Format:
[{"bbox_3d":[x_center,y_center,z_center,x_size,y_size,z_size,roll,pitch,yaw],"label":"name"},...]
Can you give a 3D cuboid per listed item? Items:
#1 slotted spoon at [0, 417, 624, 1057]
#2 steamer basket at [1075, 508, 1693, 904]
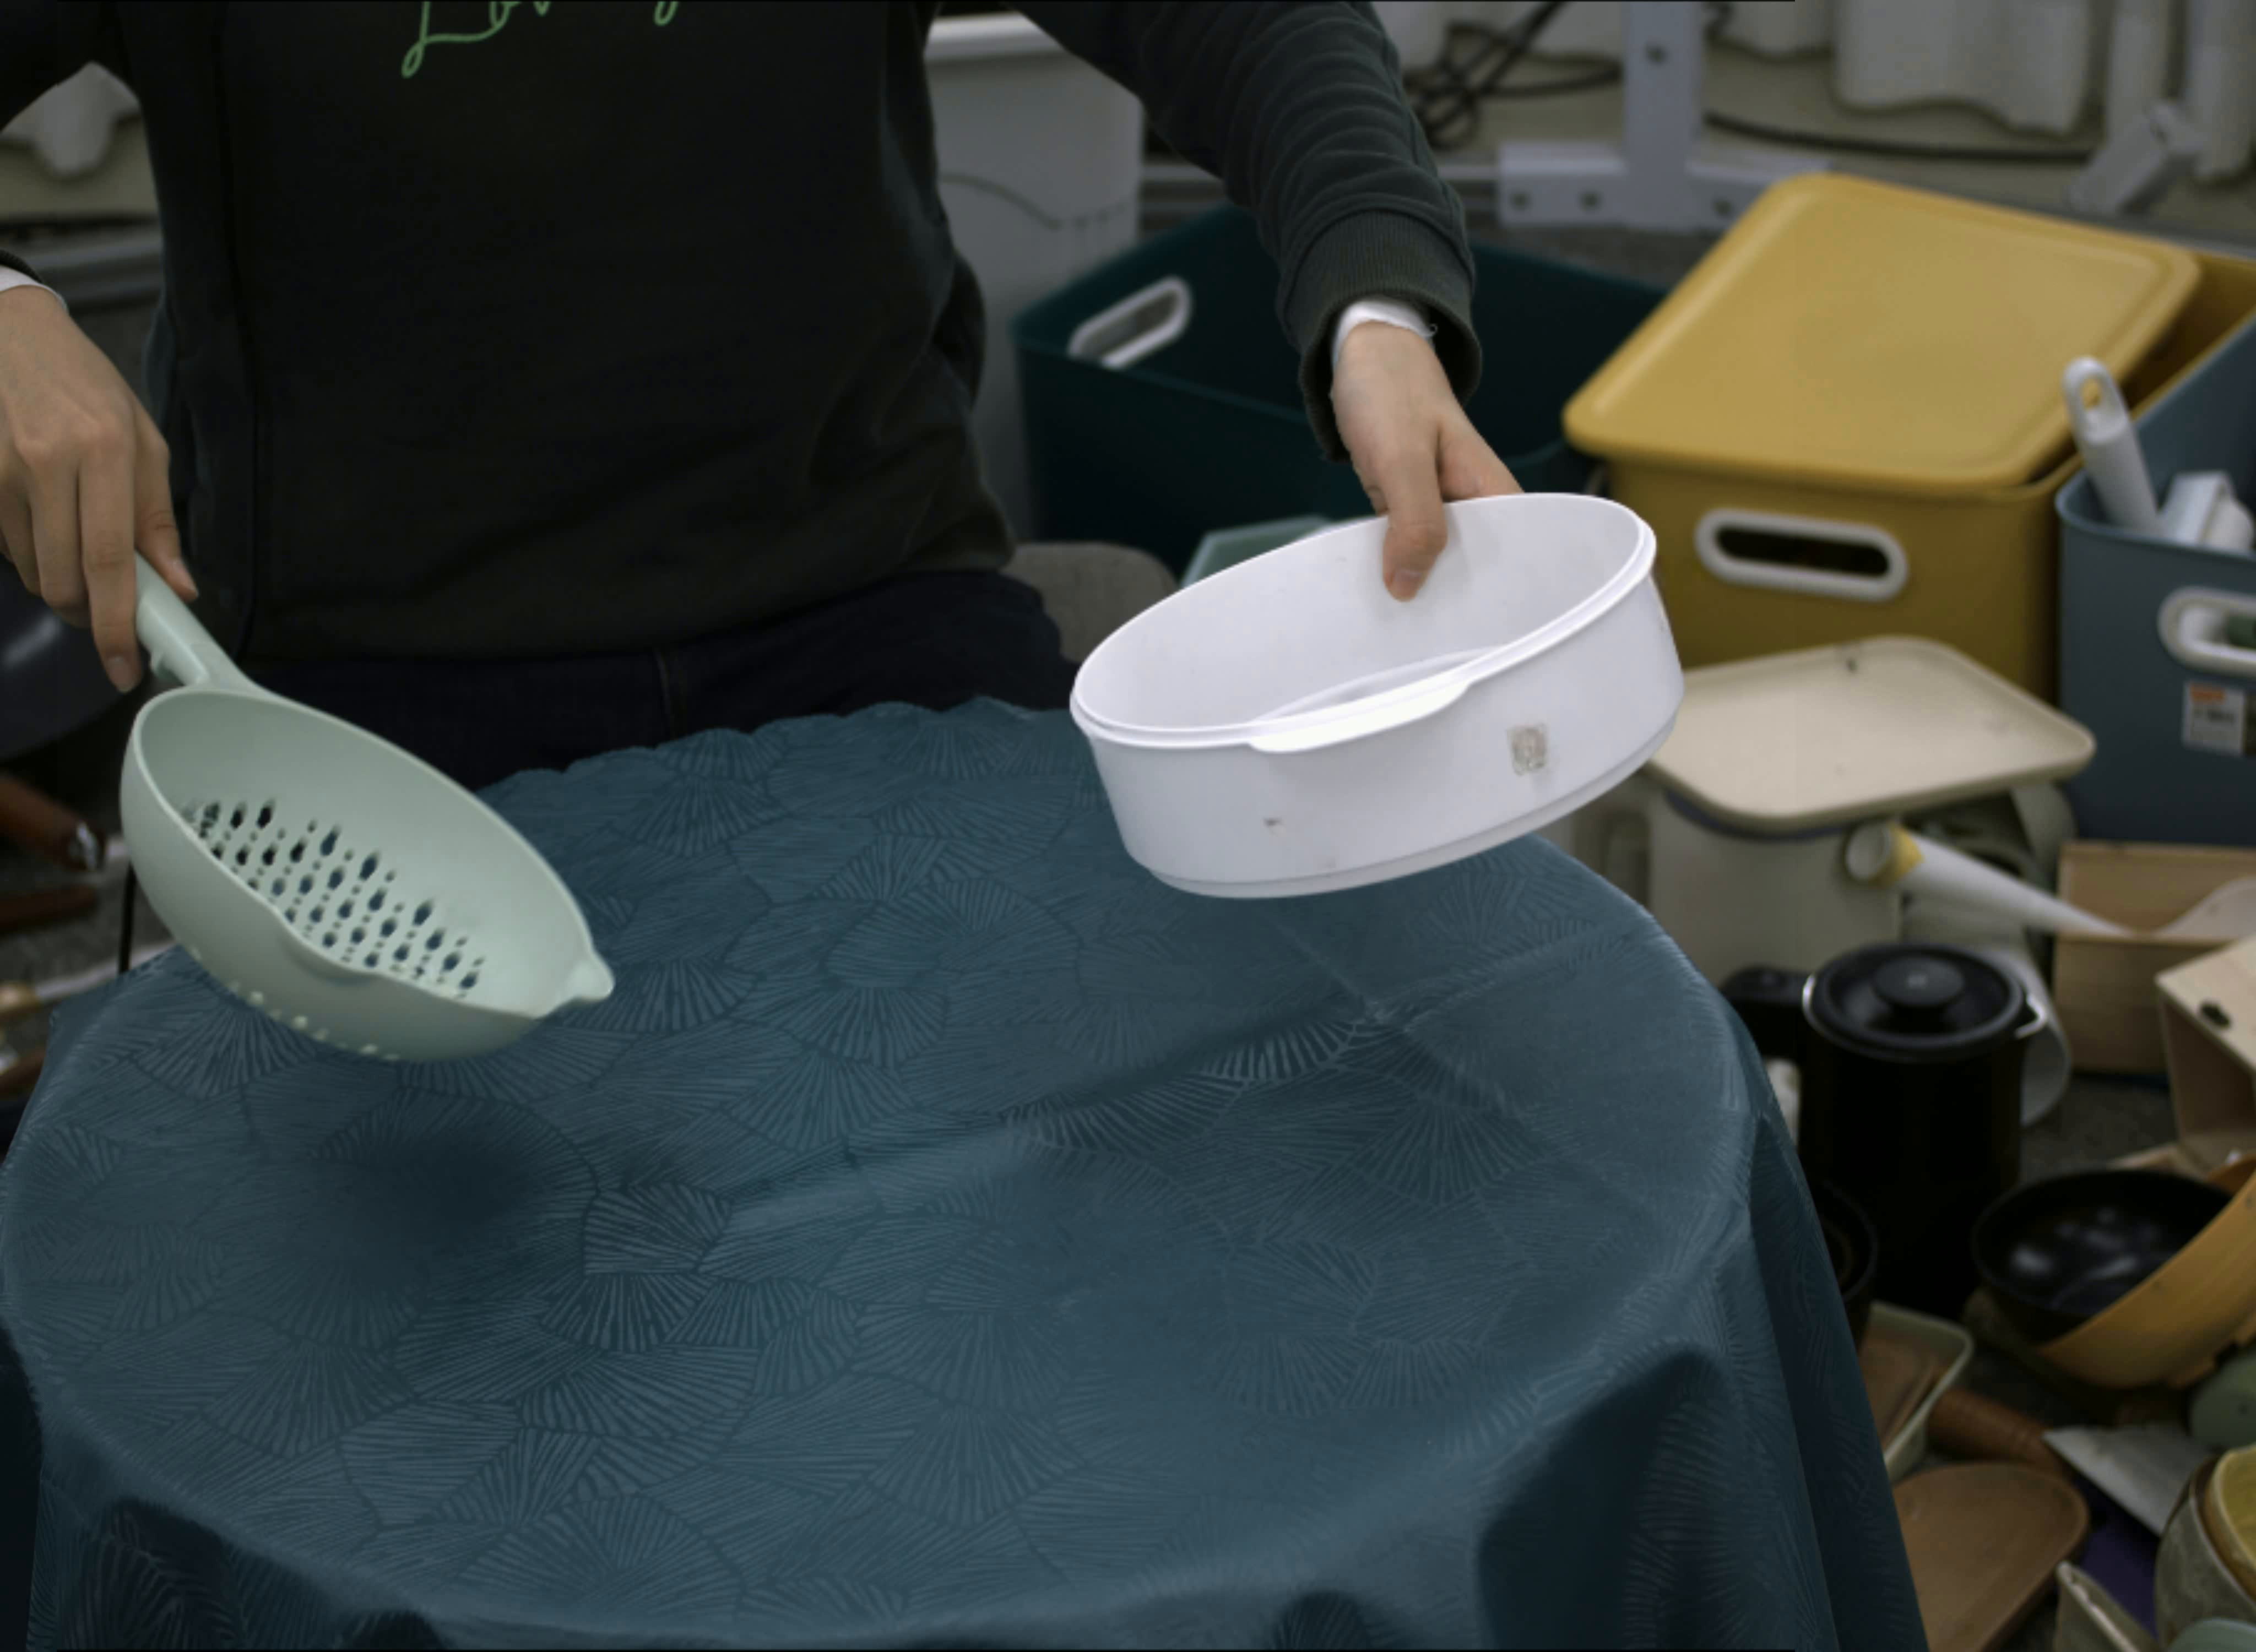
[{"bbox_3d":[-0.307,-0.043,1.885,0.169,0.074,0.362,12,35,-50],"label":"slotted spoon"},{"bbox_3d":[0.087,-0.039,1.853,0.200,0.069,0.233,-14,18,7],"label":"steamer basket"}]
